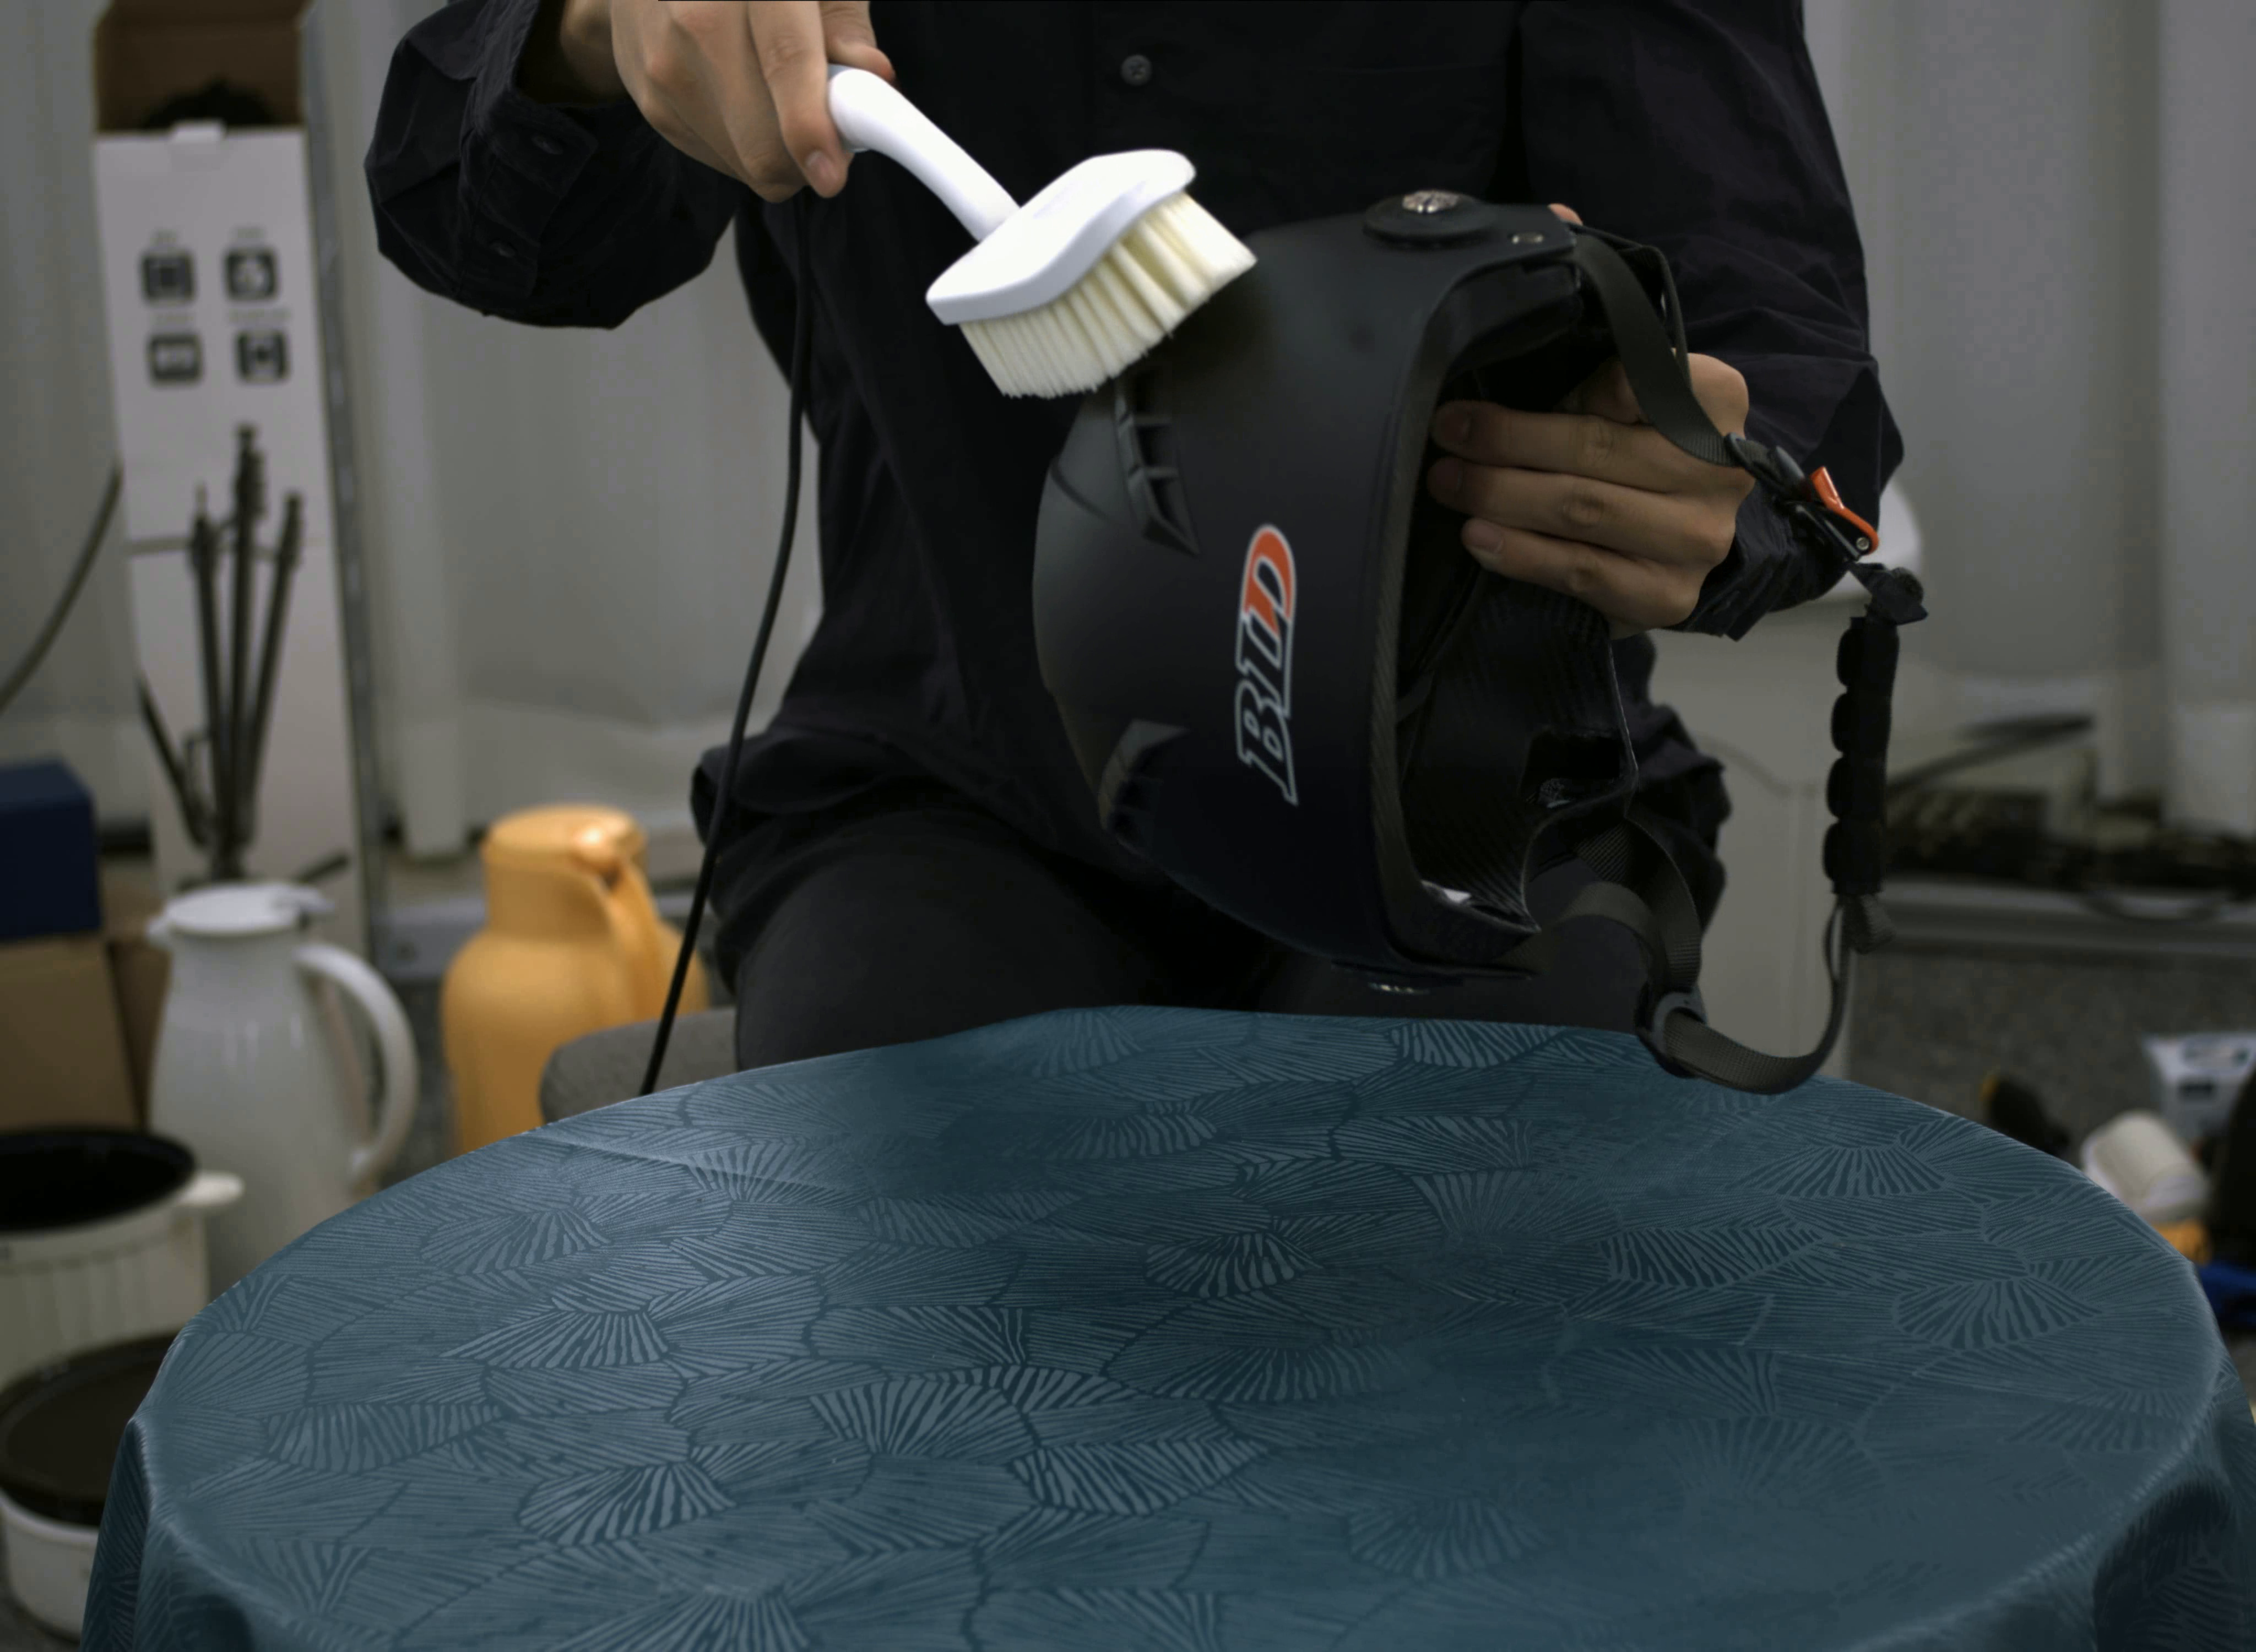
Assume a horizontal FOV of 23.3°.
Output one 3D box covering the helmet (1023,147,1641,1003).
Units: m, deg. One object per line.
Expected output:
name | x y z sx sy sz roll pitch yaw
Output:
helmet | 0.055 -0.077 1.589 0.172 0.246 0.277 5 13 17

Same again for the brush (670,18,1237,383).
brush | -0.049 -0.184 1.634 0.082 0.084 0.328 -3 15 -25
